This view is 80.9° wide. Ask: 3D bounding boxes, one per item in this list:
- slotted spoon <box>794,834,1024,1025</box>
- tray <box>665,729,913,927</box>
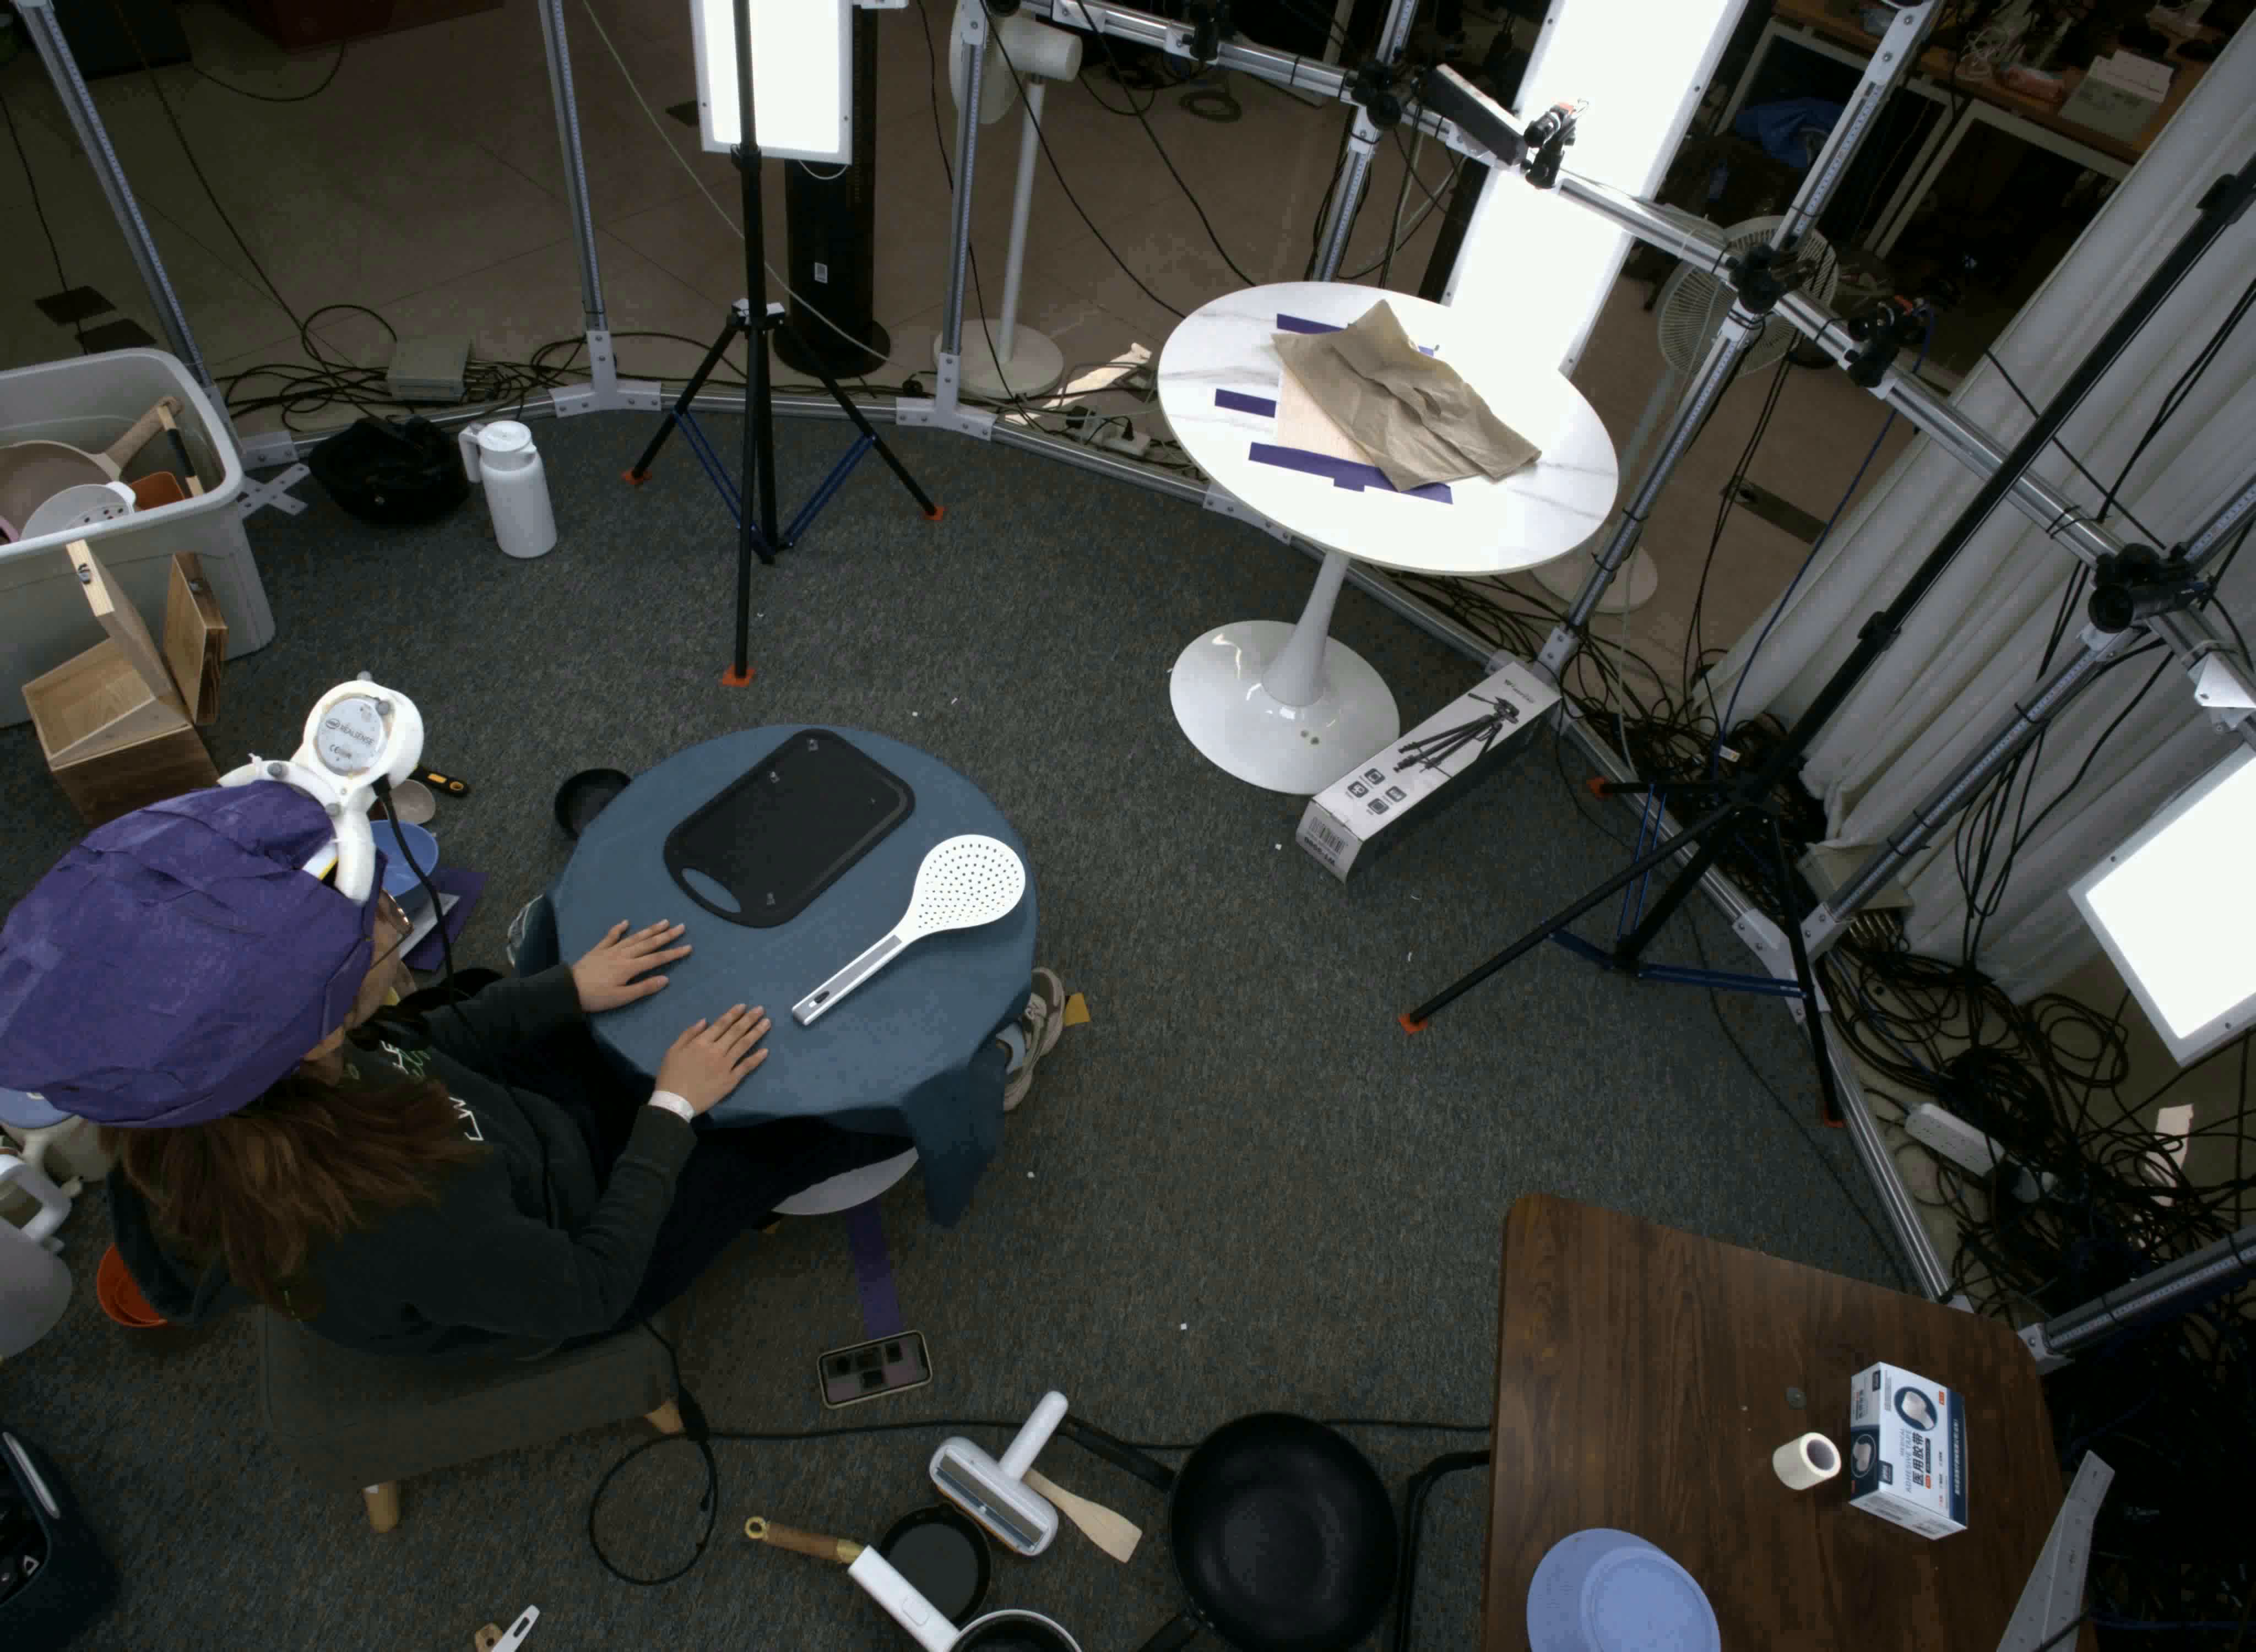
[{"bbox_3d":[-0.276,0.131,1.640,0.133,0.047,0.350,40,55,19],"label":"slotted spoon"},{"bbox_3d":[-0.451,-0.002,1.719,0.207,0.010,0.325,35,54,12],"label":"tray"}]
